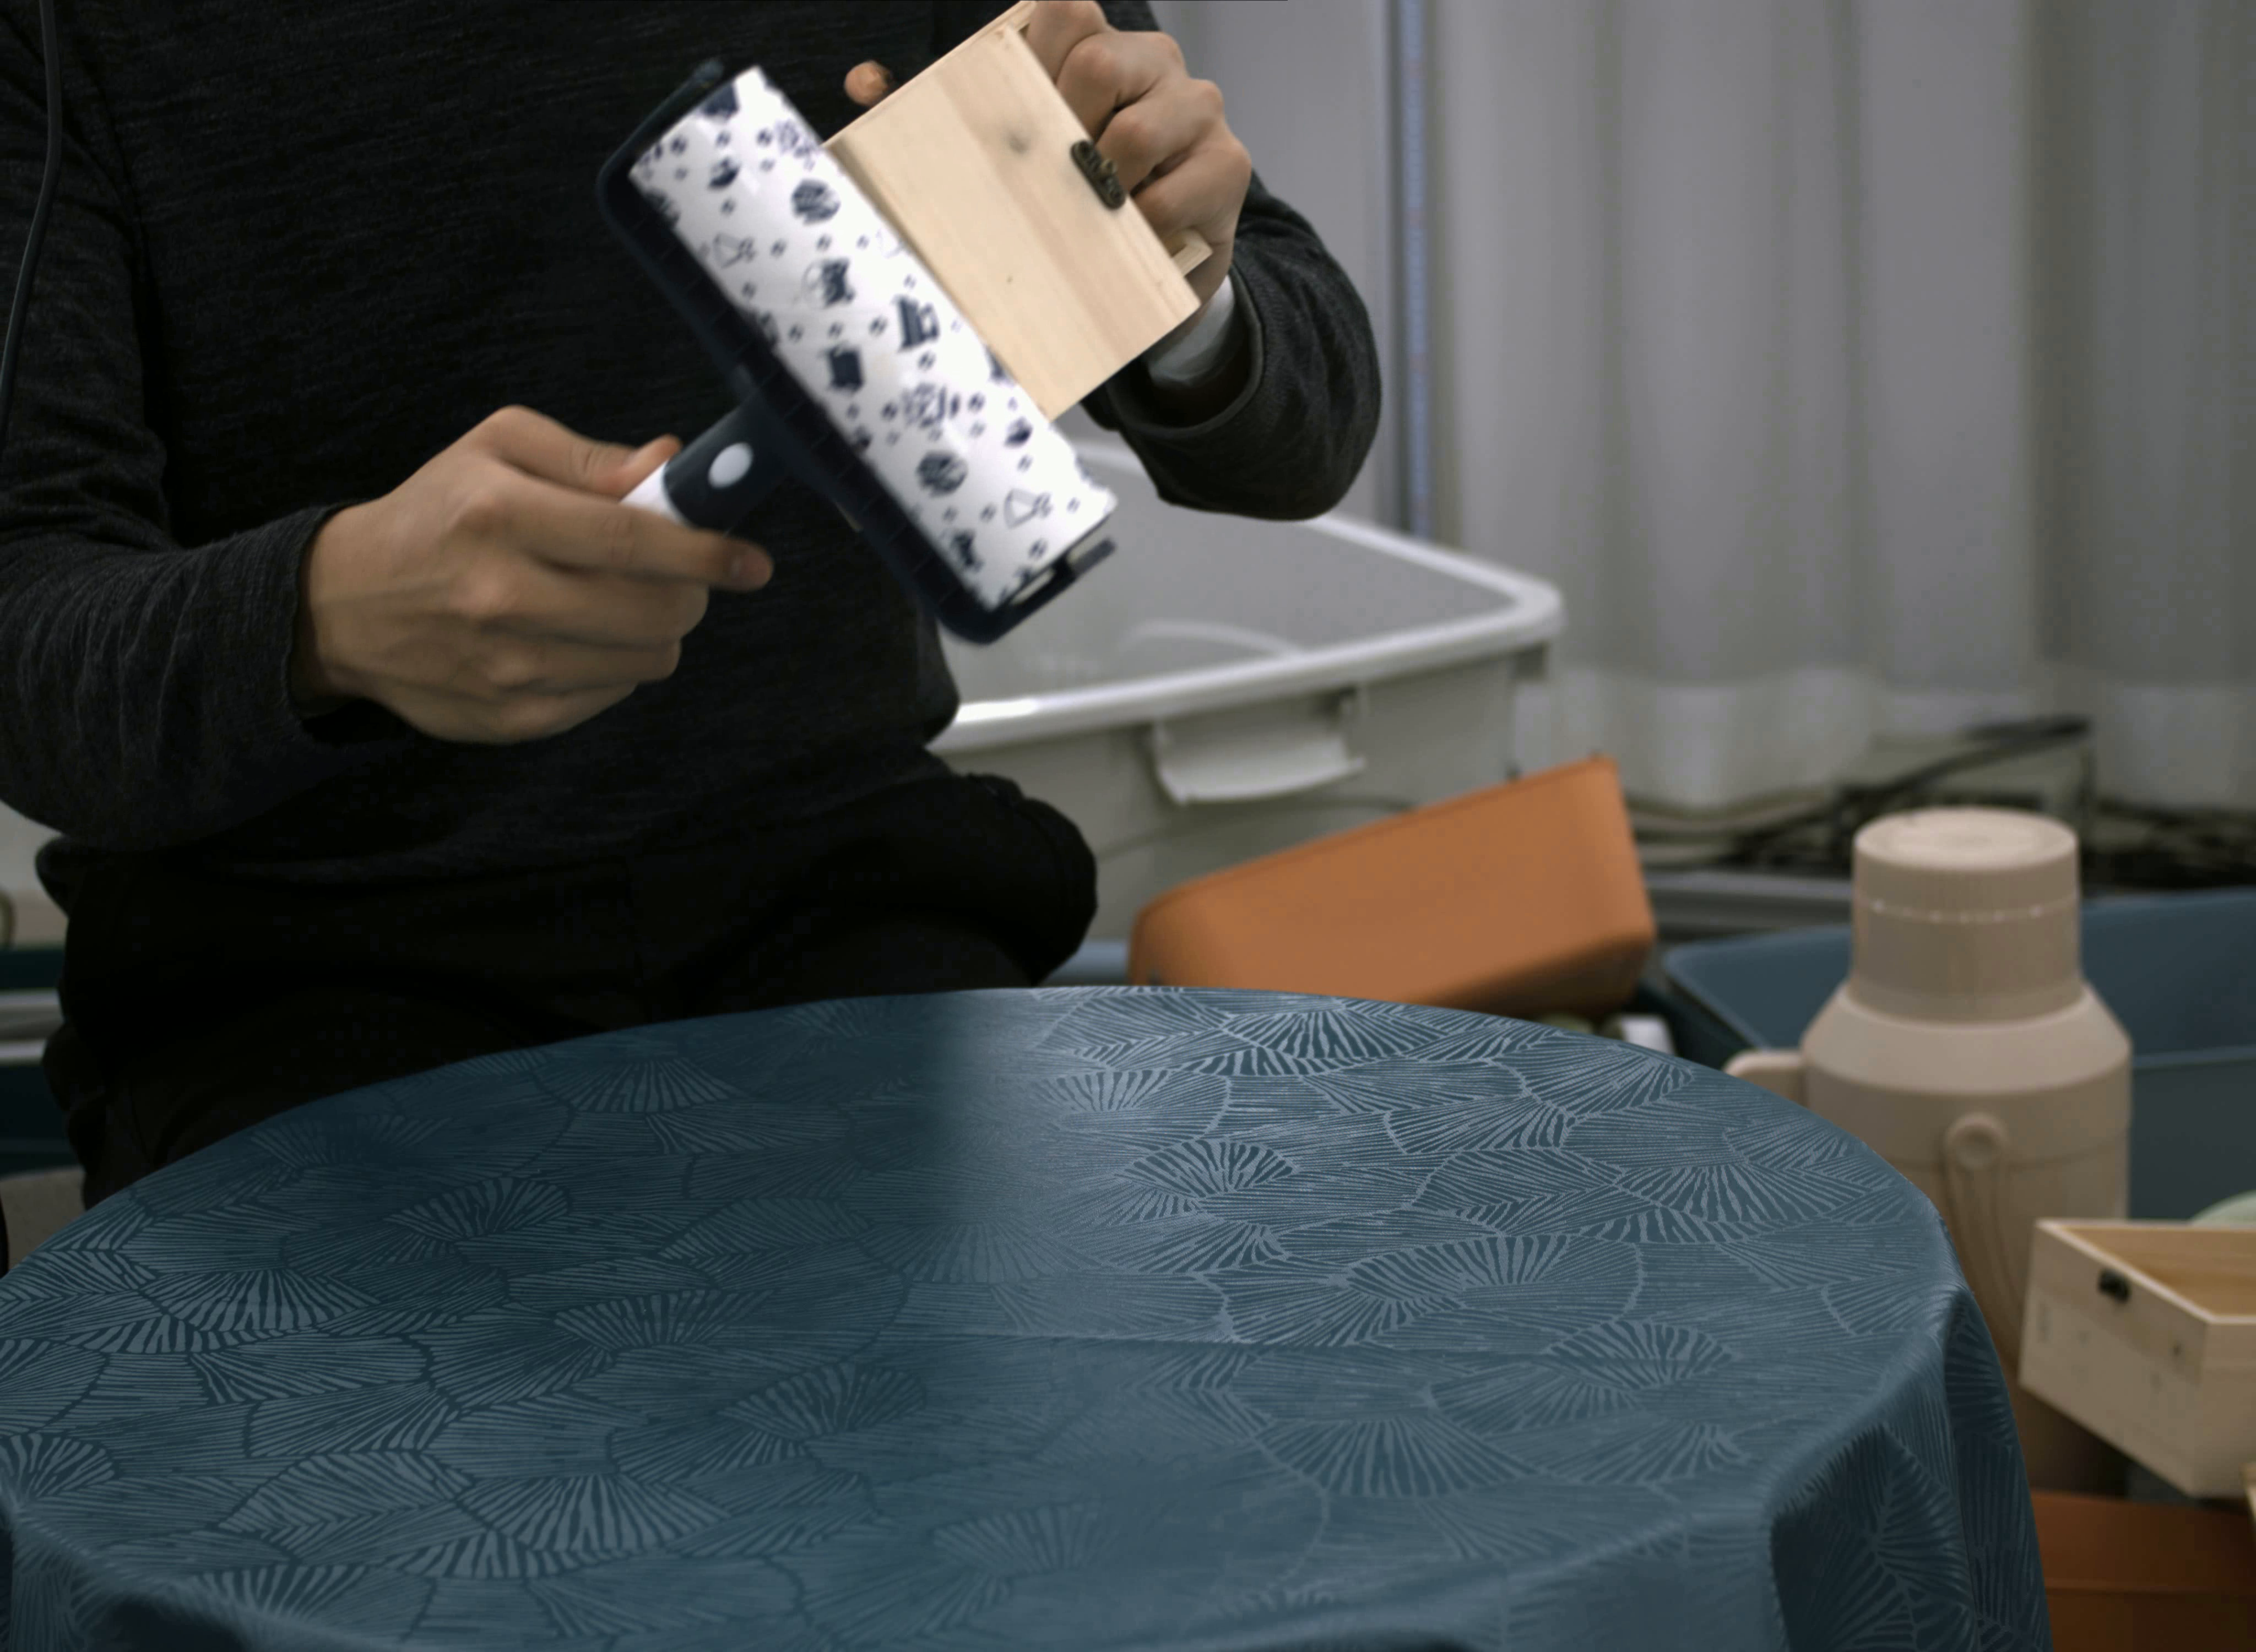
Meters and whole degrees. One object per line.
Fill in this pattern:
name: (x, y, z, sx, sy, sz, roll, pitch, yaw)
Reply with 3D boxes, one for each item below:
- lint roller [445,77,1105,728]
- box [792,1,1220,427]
lint roller: (-0.132, -0.086, 1.599, 0.245, 0.176, 0.050, -38, 2, 41)
box: (-0.029, -0.188, 1.656, 0.185, 0.102, 0.133, -39, 9, -39)
